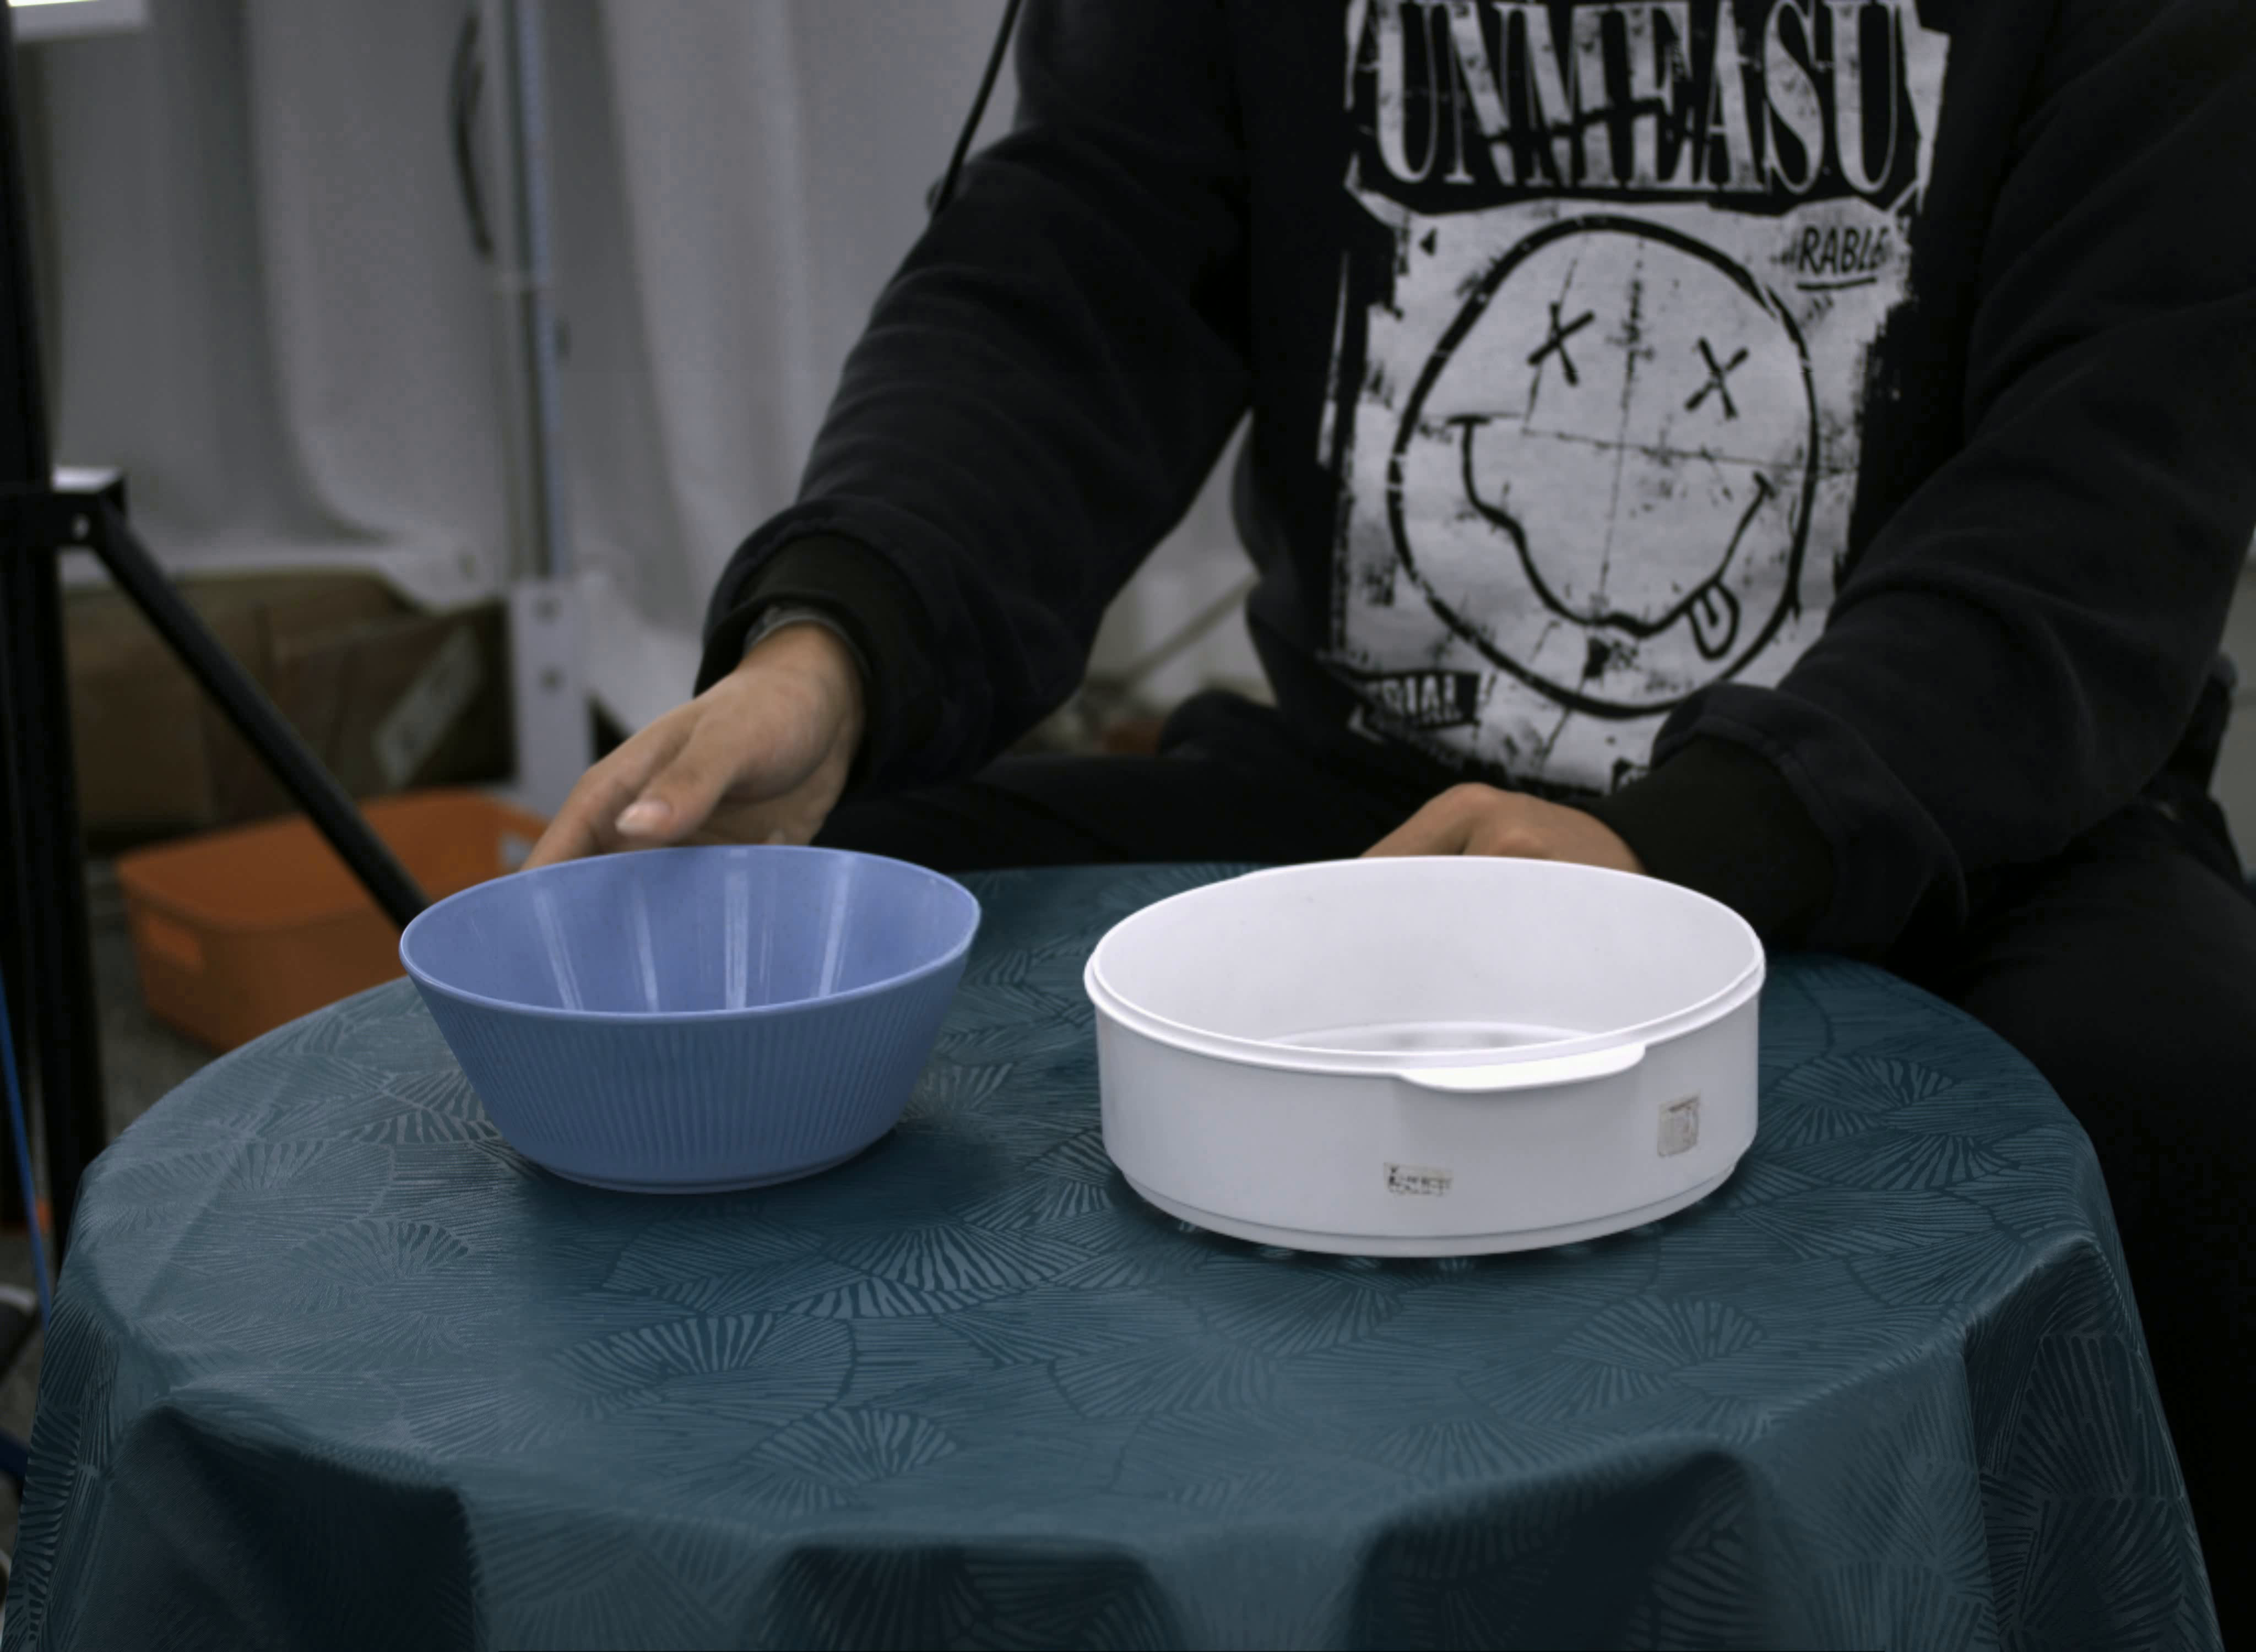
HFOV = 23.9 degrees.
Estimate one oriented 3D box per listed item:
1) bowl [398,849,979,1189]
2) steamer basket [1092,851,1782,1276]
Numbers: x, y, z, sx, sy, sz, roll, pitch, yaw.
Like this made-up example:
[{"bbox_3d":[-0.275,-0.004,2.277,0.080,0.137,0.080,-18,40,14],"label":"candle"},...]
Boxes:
[{"bbox_3d":[-0.132,0.061,1.618,0.175,0.070,0.177,-2,16,-1],"label":"bowl"},{"bbox_3d":[0.091,0.069,1.555,0.199,0.069,0.234,-6,18,-12],"label":"steamer basket"}]
